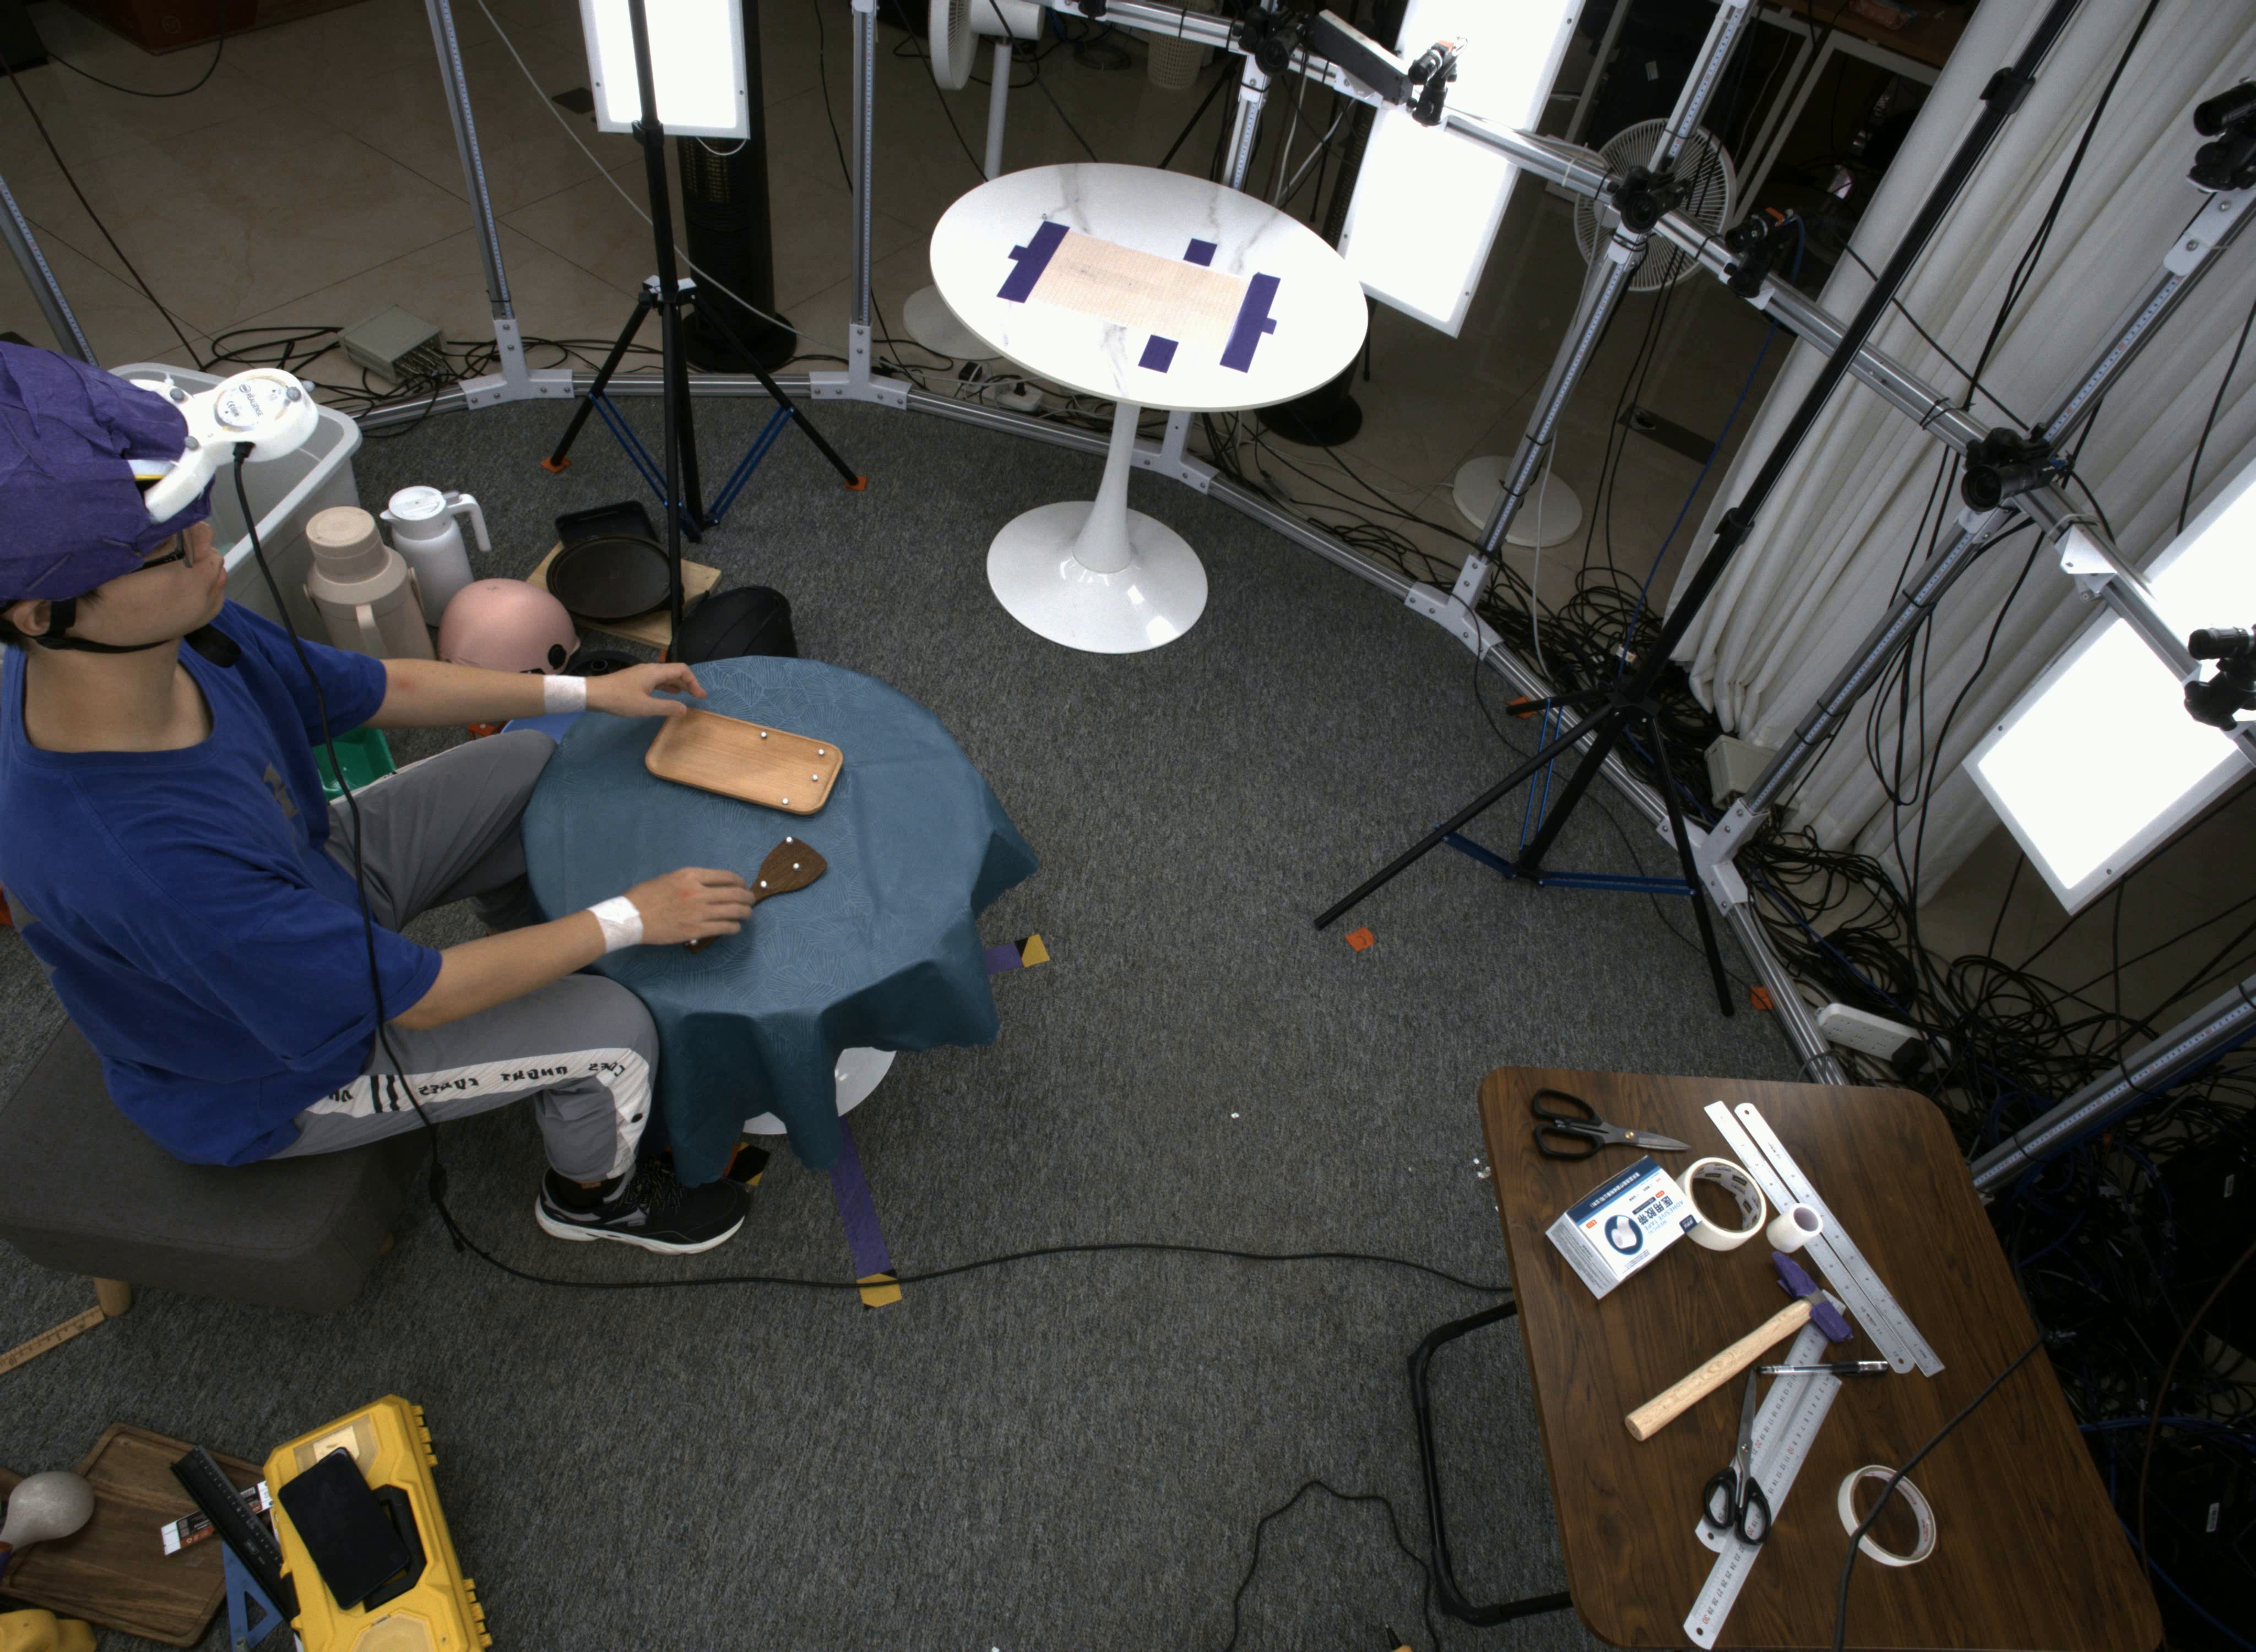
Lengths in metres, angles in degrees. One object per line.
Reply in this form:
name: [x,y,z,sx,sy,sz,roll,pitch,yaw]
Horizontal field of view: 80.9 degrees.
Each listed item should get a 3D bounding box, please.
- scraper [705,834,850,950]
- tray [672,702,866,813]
scraper: [-0.452,0.086,1.657,0.074,0.011,0.211,38,55,15]
tray: [-0.492,-0.095,1.776,0.248,0.023,0.129,16,49,-1]
